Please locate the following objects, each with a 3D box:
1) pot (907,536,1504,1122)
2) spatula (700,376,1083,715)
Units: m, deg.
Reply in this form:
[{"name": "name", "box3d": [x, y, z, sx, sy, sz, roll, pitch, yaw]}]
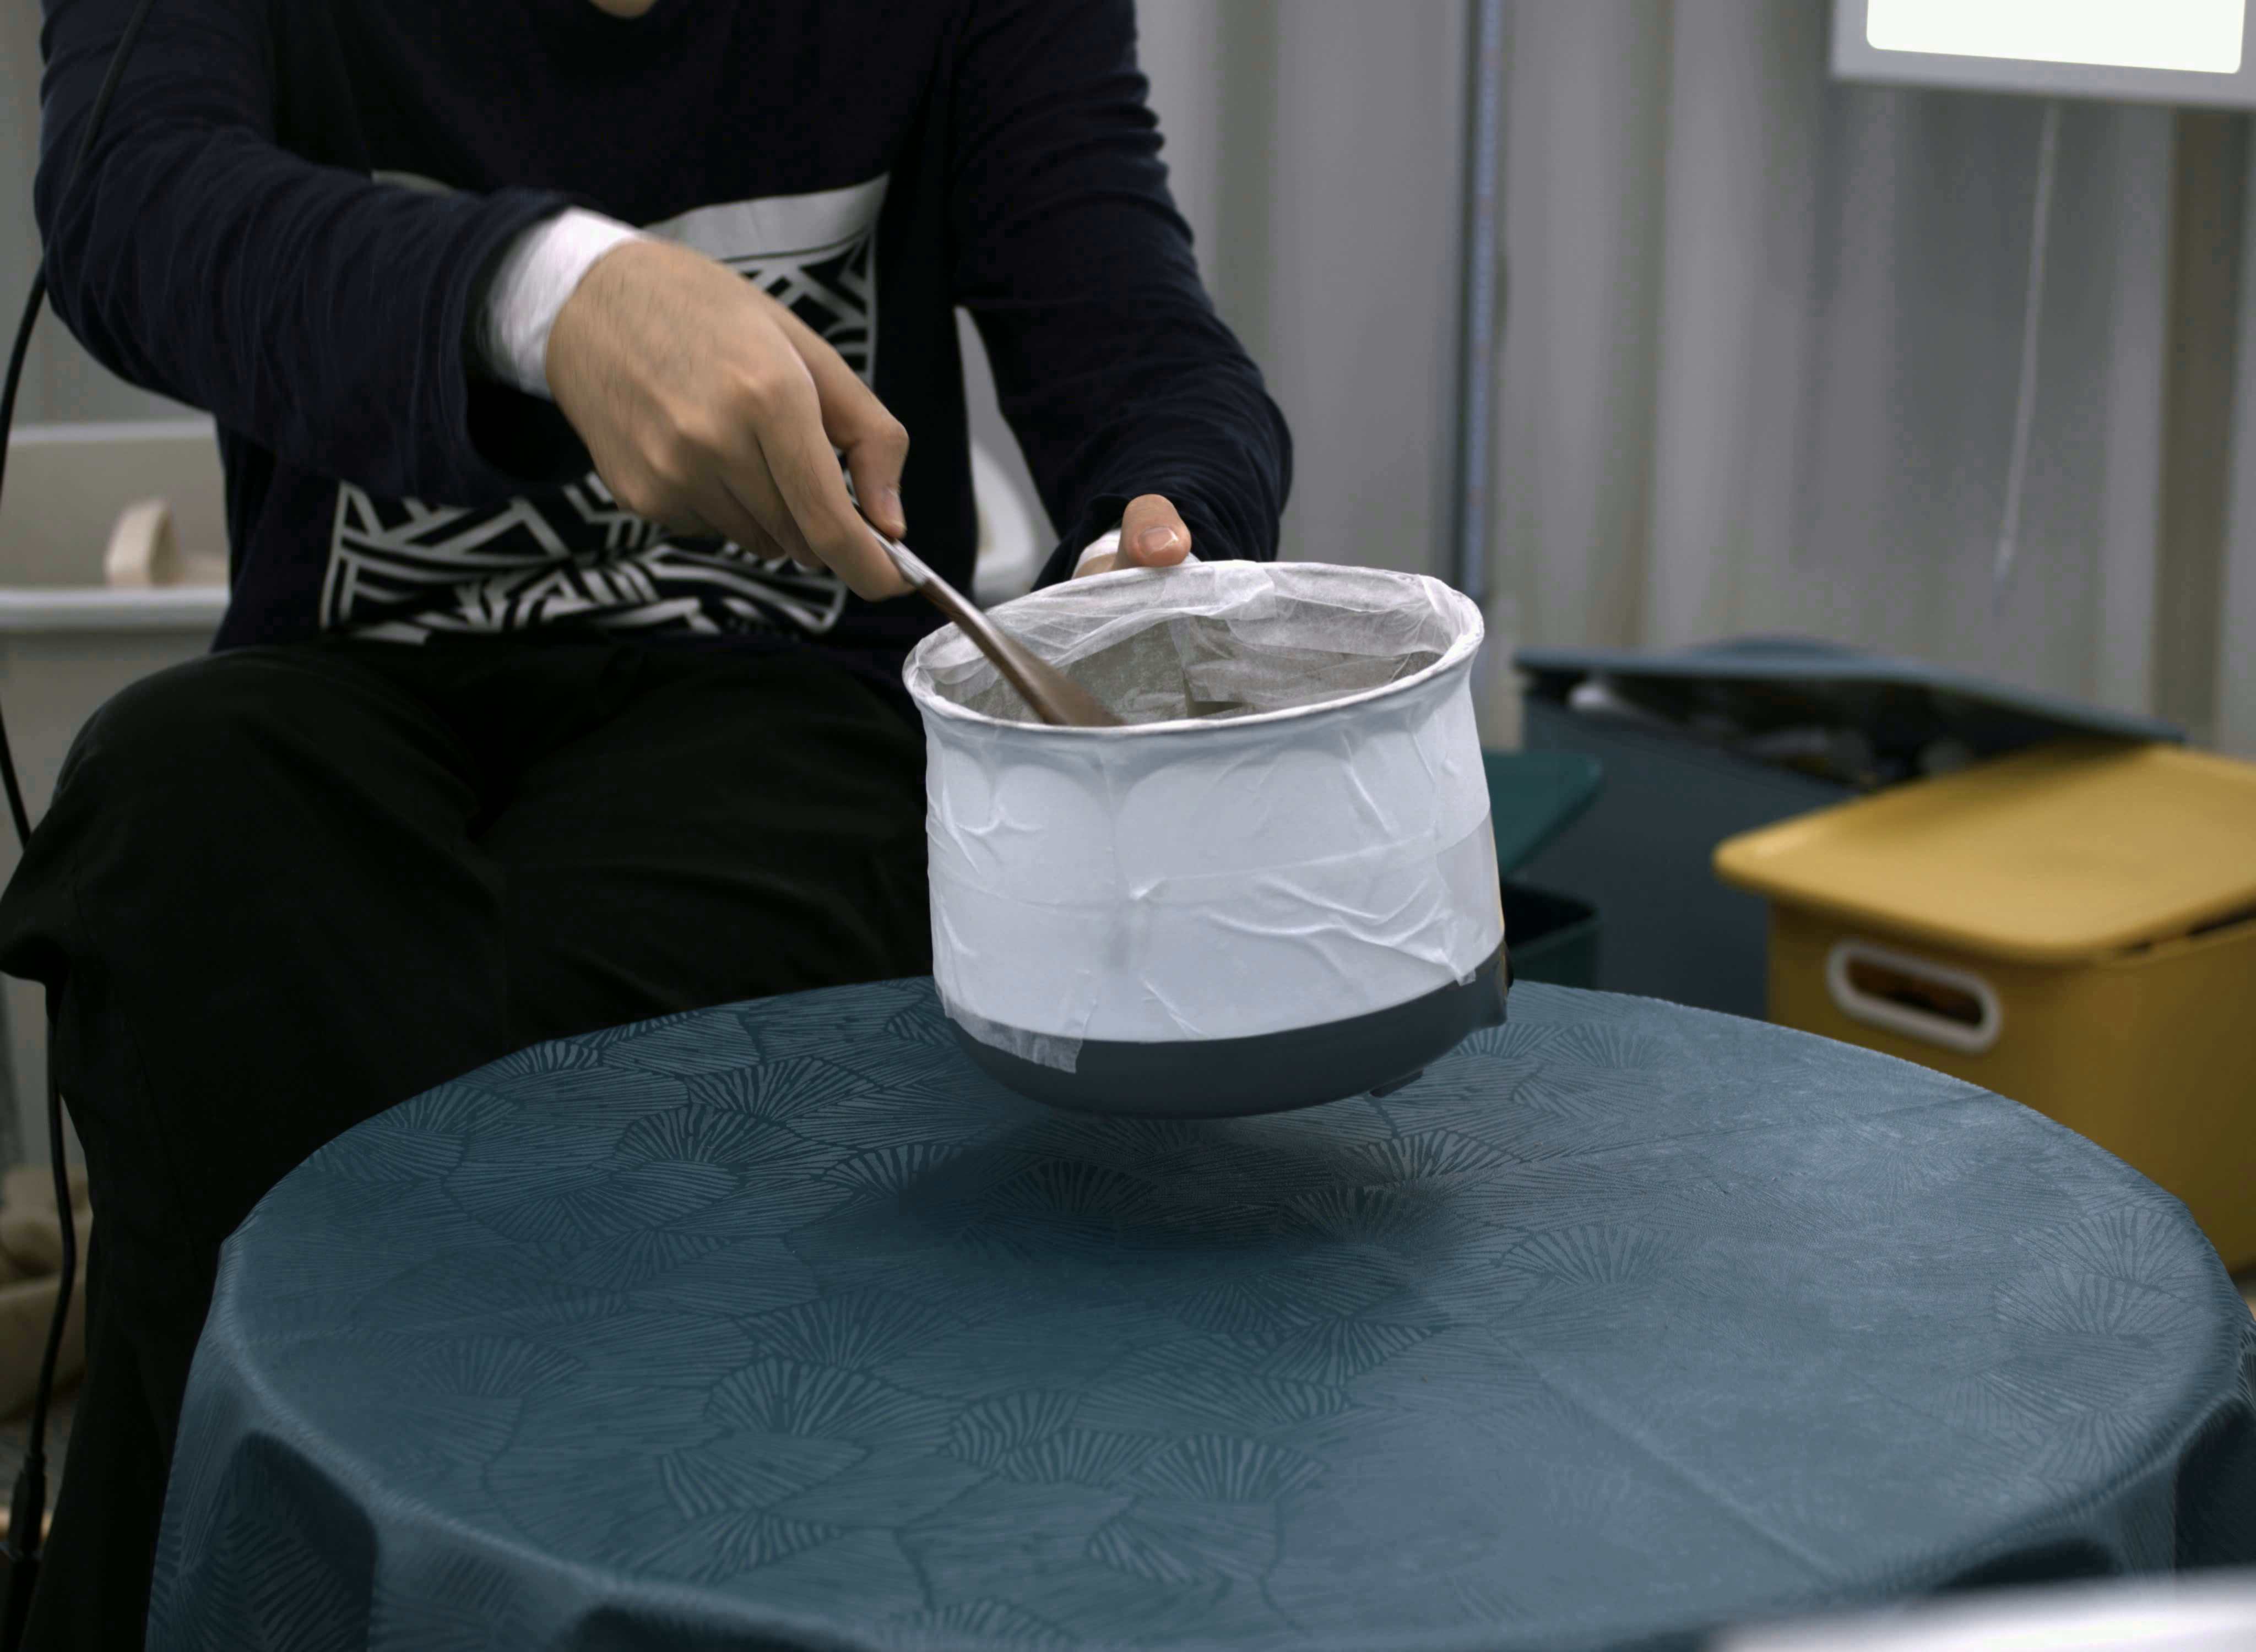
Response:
[{"name": "pot", "box3d": [0.022, -0.005, 1.631, 0.178, 0.138, 0.232, -4, 19, -4]}, {"name": "spatula", "box3d": [-0.054, -0.062, 1.596, 0.215, 0.009, 0.072, 45, 11, 9]}]
